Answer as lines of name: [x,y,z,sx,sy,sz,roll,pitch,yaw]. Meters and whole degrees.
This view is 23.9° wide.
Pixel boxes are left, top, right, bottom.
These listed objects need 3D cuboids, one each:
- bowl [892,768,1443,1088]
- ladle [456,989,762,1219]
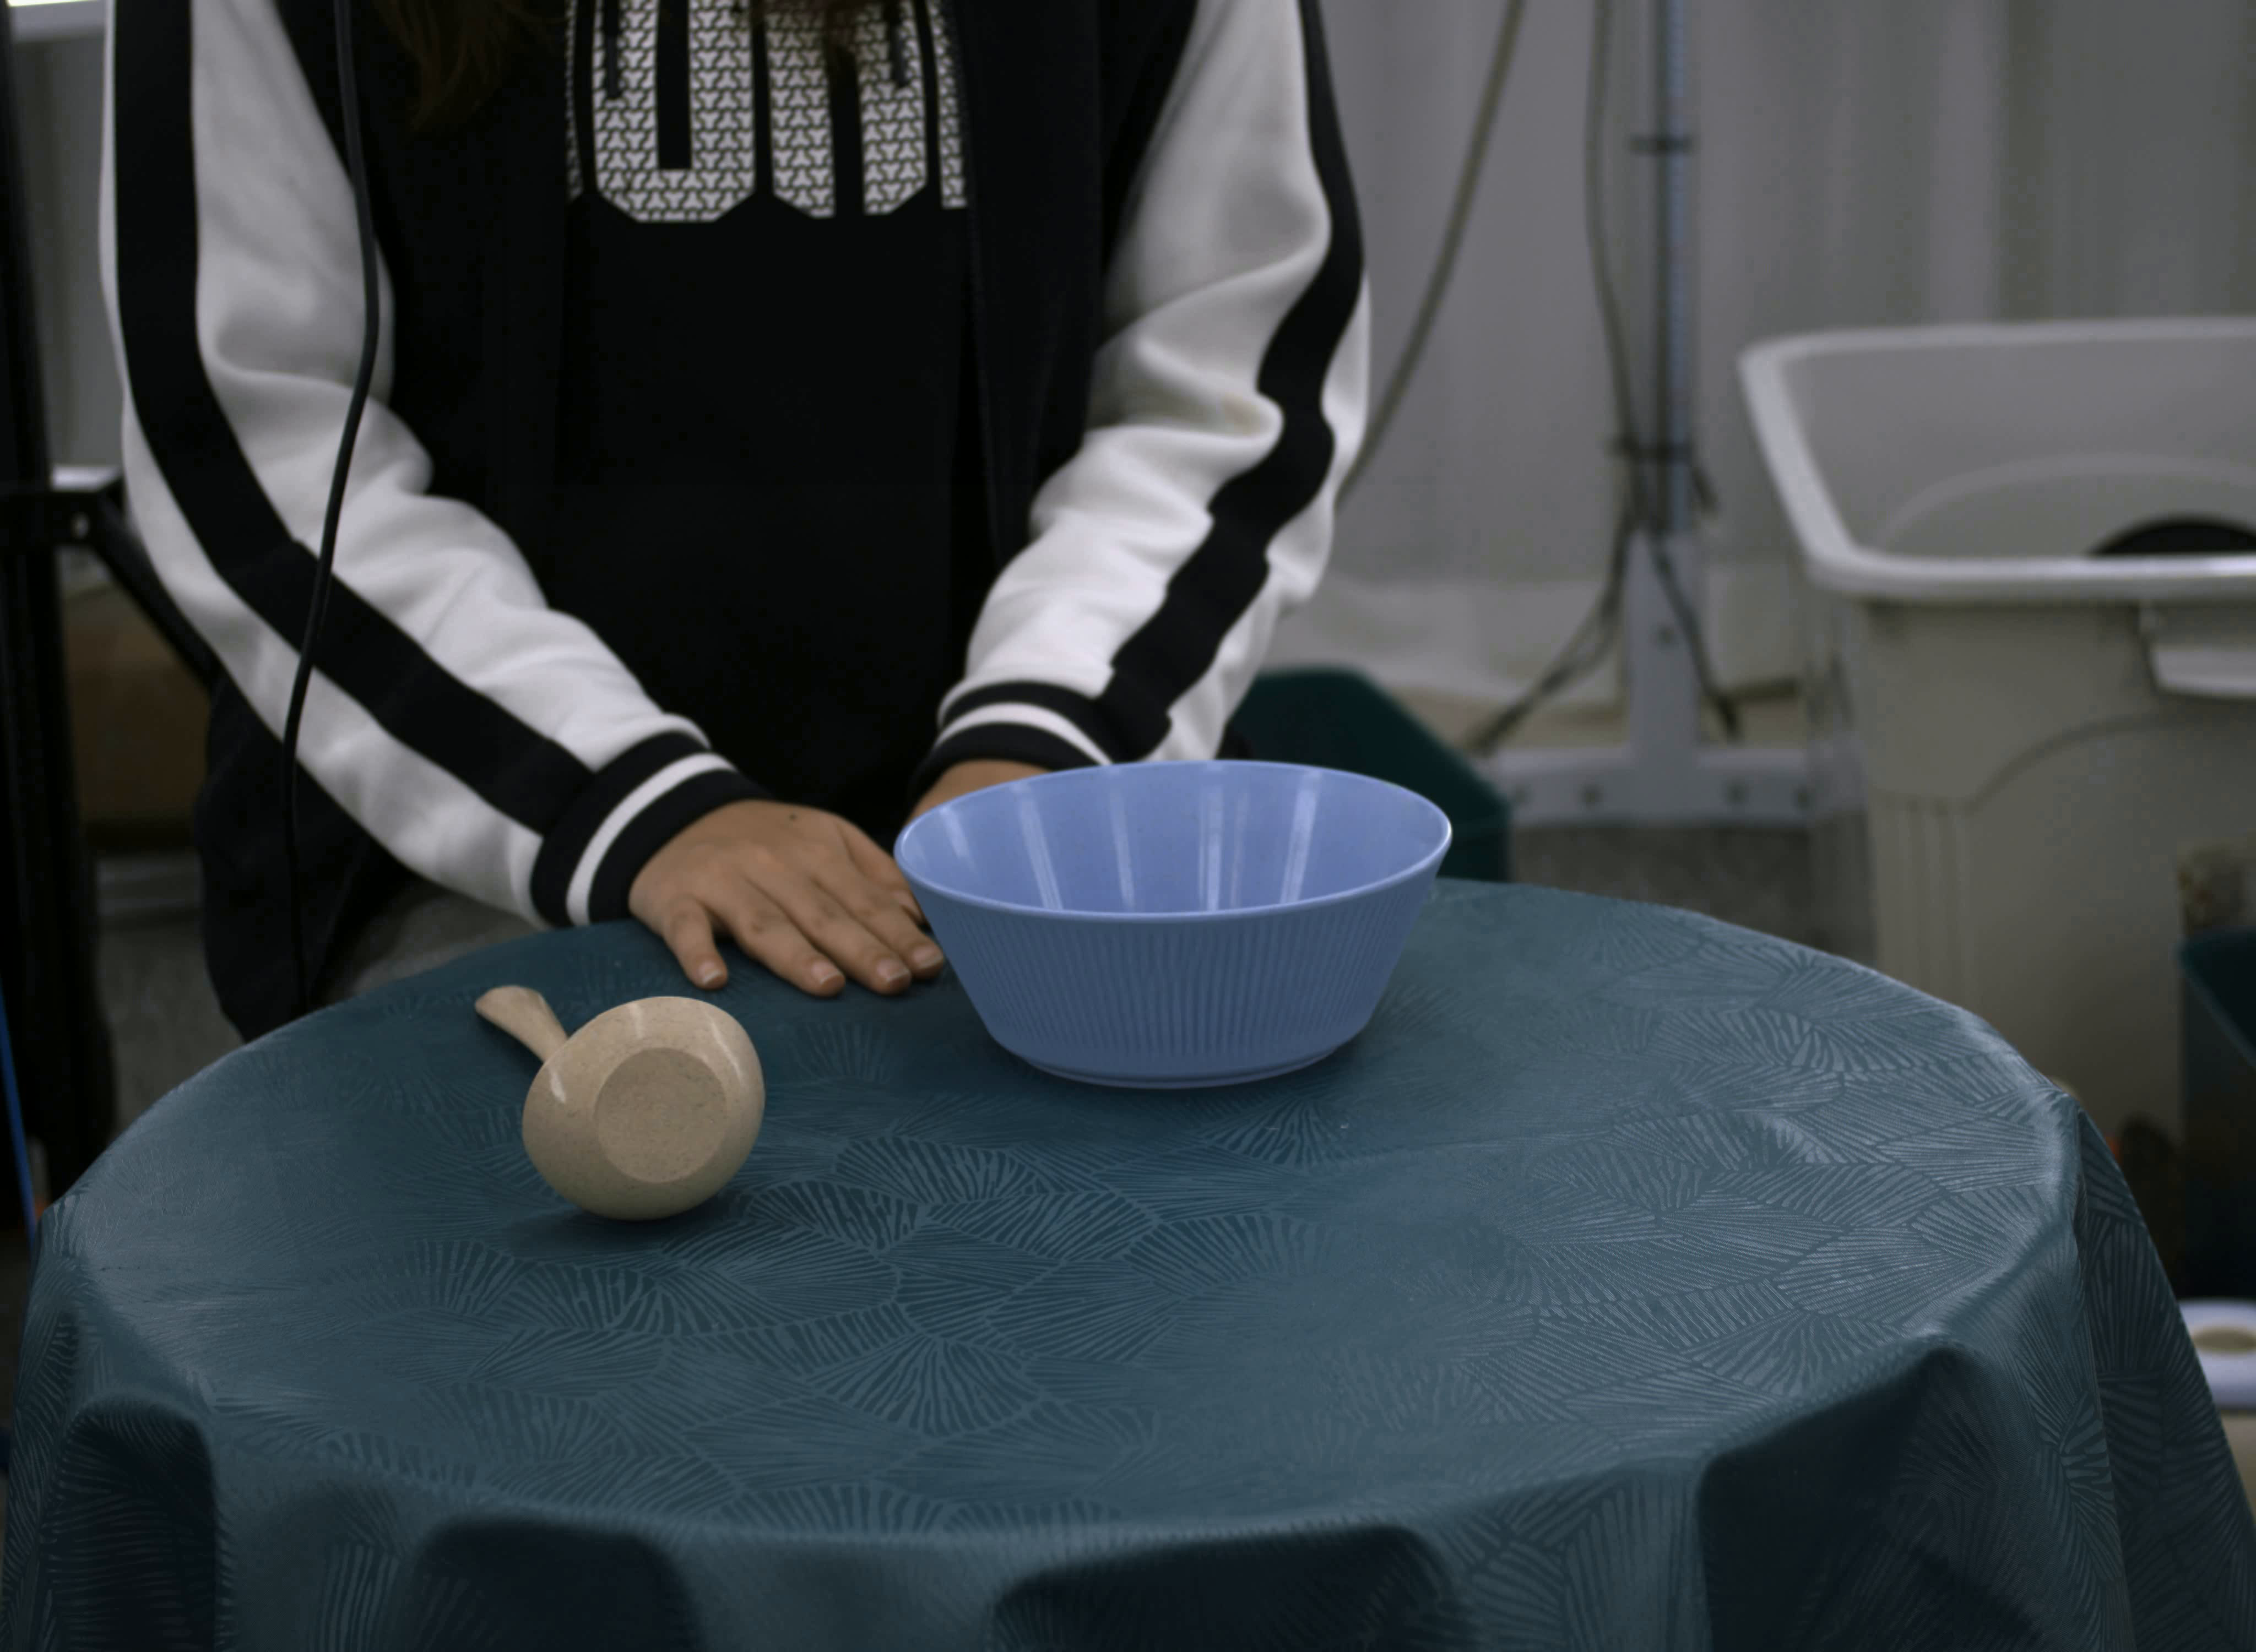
bowl: [0.013,0.034,1.688,0.175,0.070,0.177,-2,16,-1]
ladle: [-0.177,0.056,1.638,0.071,0.072,0.259,-20,20,-16]
